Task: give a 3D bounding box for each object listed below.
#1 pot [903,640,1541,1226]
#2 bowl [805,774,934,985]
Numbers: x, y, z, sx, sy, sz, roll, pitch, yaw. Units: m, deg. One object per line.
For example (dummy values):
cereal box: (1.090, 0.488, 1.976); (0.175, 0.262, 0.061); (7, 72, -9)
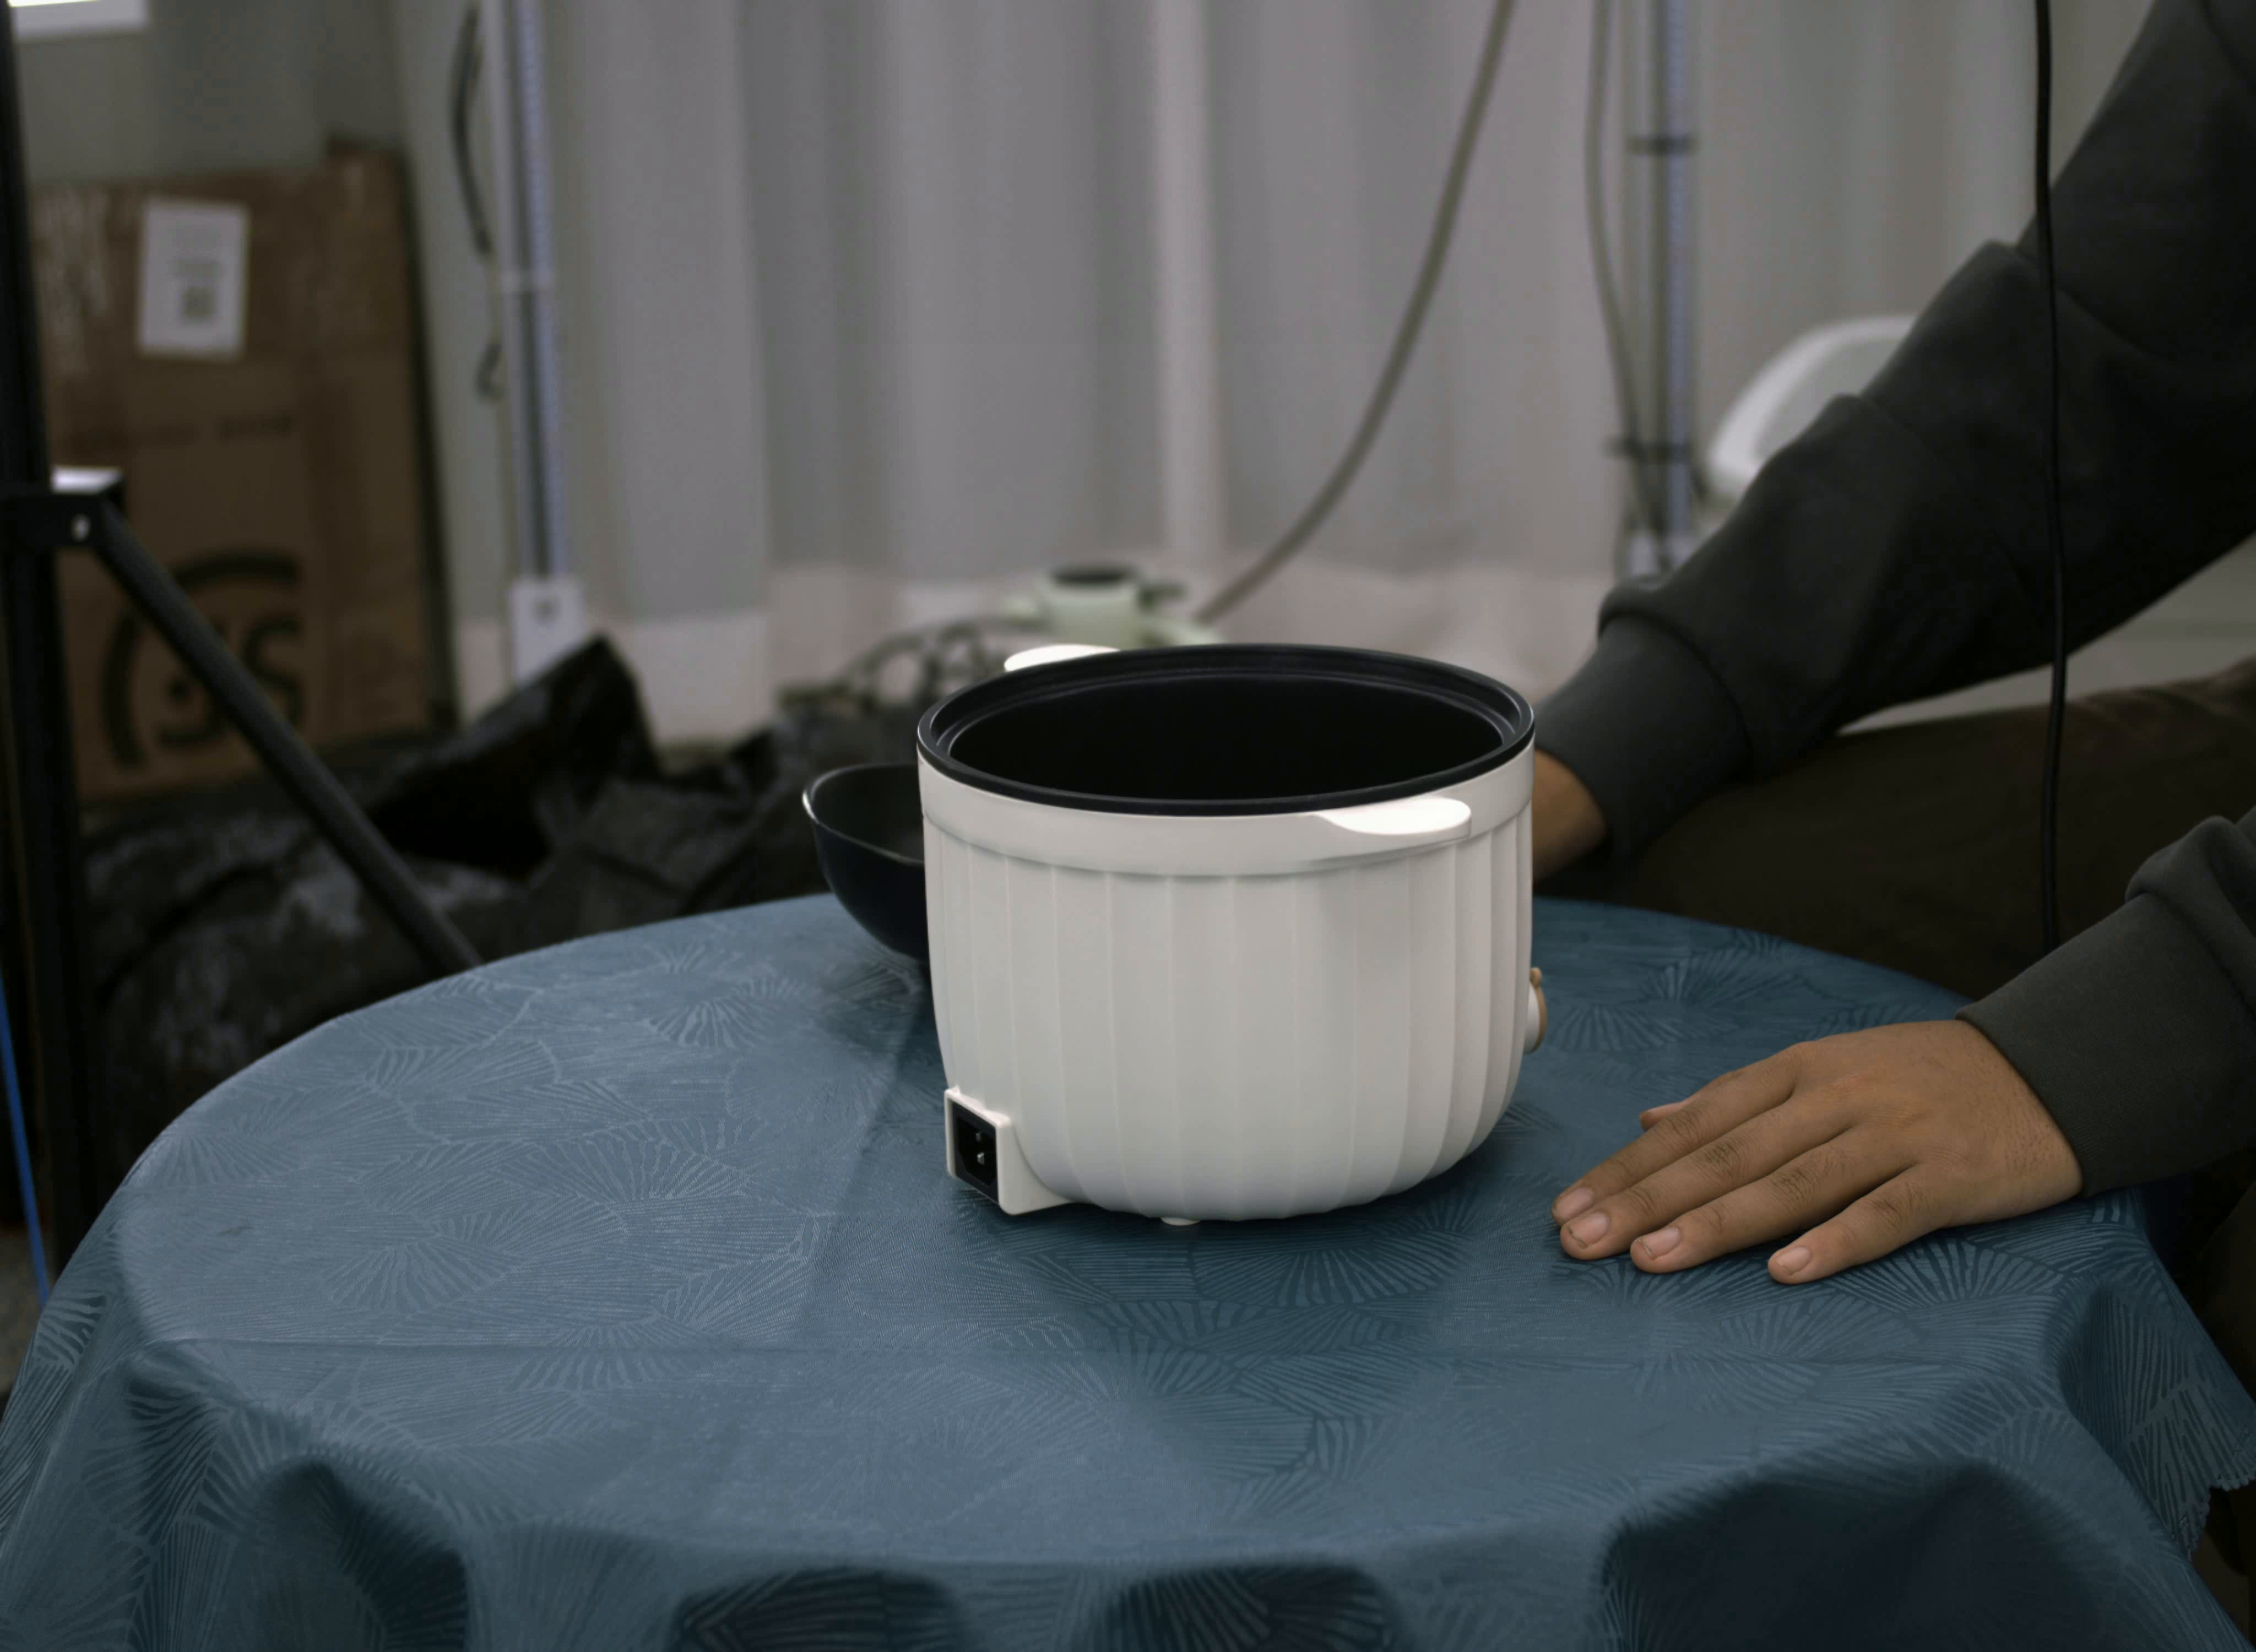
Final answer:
pot: (0.034, 0.031, 1.570); (0.187, 0.142, 0.245); (-13, 20, -25)
bowl: (-0.038, 0.018, 1.761); (0.136, 0.067, 0.172); (-4, 14, -7)
